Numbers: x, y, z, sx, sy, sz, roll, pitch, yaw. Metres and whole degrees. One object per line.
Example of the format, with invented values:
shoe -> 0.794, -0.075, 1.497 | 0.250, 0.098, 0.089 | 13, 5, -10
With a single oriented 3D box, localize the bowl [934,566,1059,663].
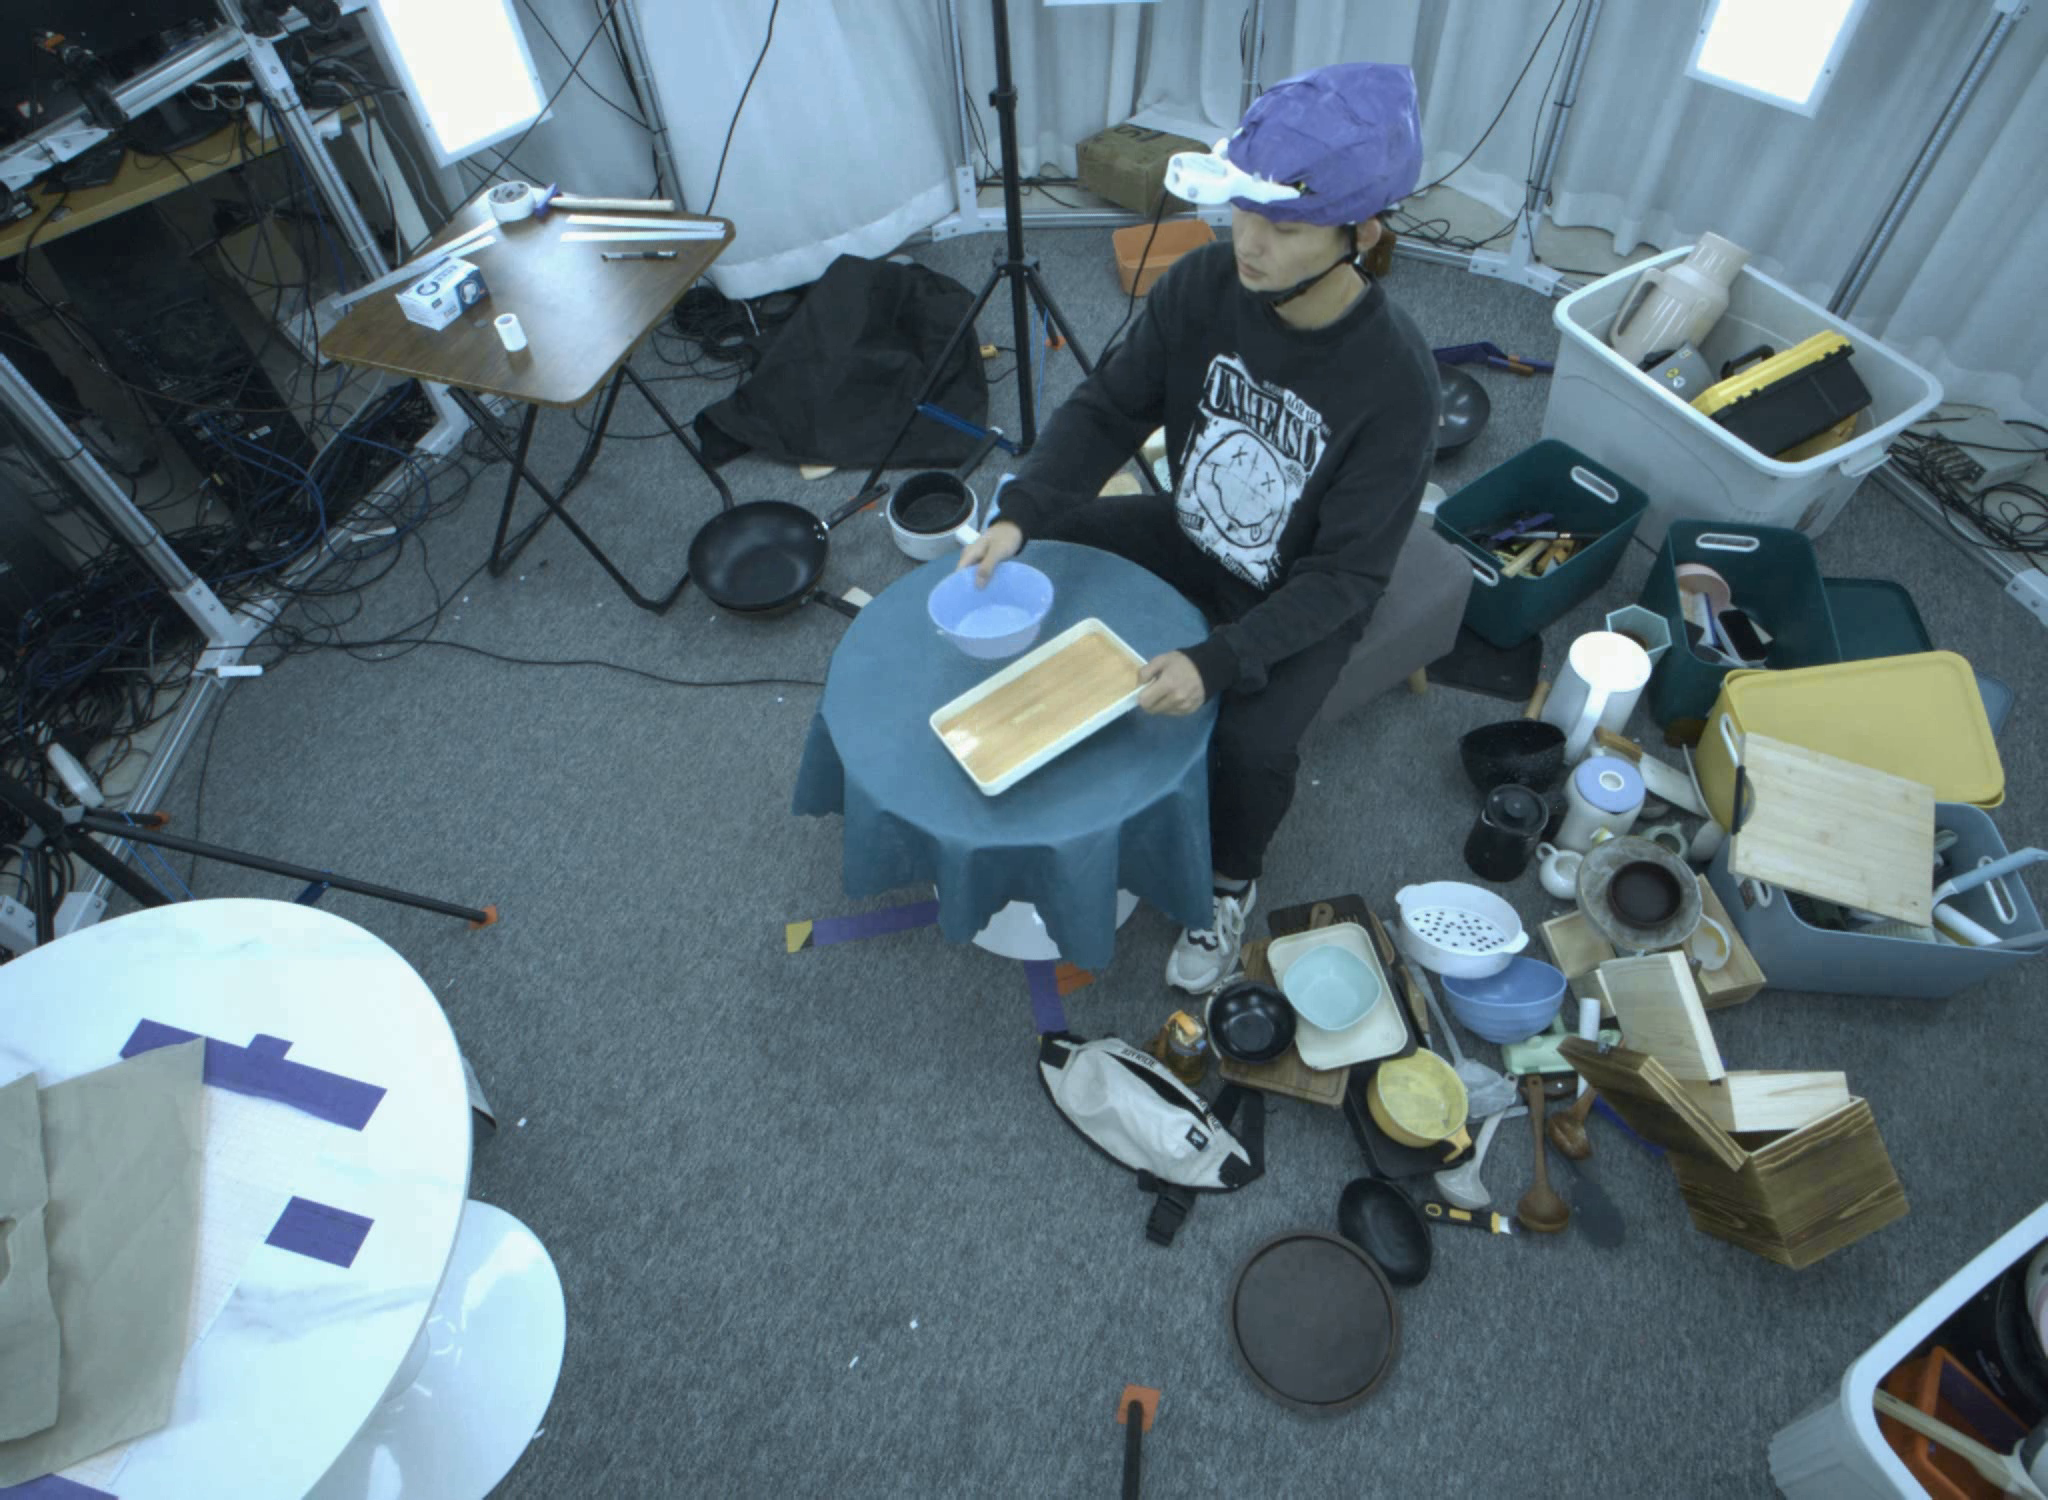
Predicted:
bowl -> -0.037, -0.184, 1.741 | 0.176, 0.071, 0.174 | -2, 45, 3

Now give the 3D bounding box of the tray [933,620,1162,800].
tray -> 0.032, -0.062, 1.777 | 0.301, 0.028, 0.187 | -33, 47, -10
